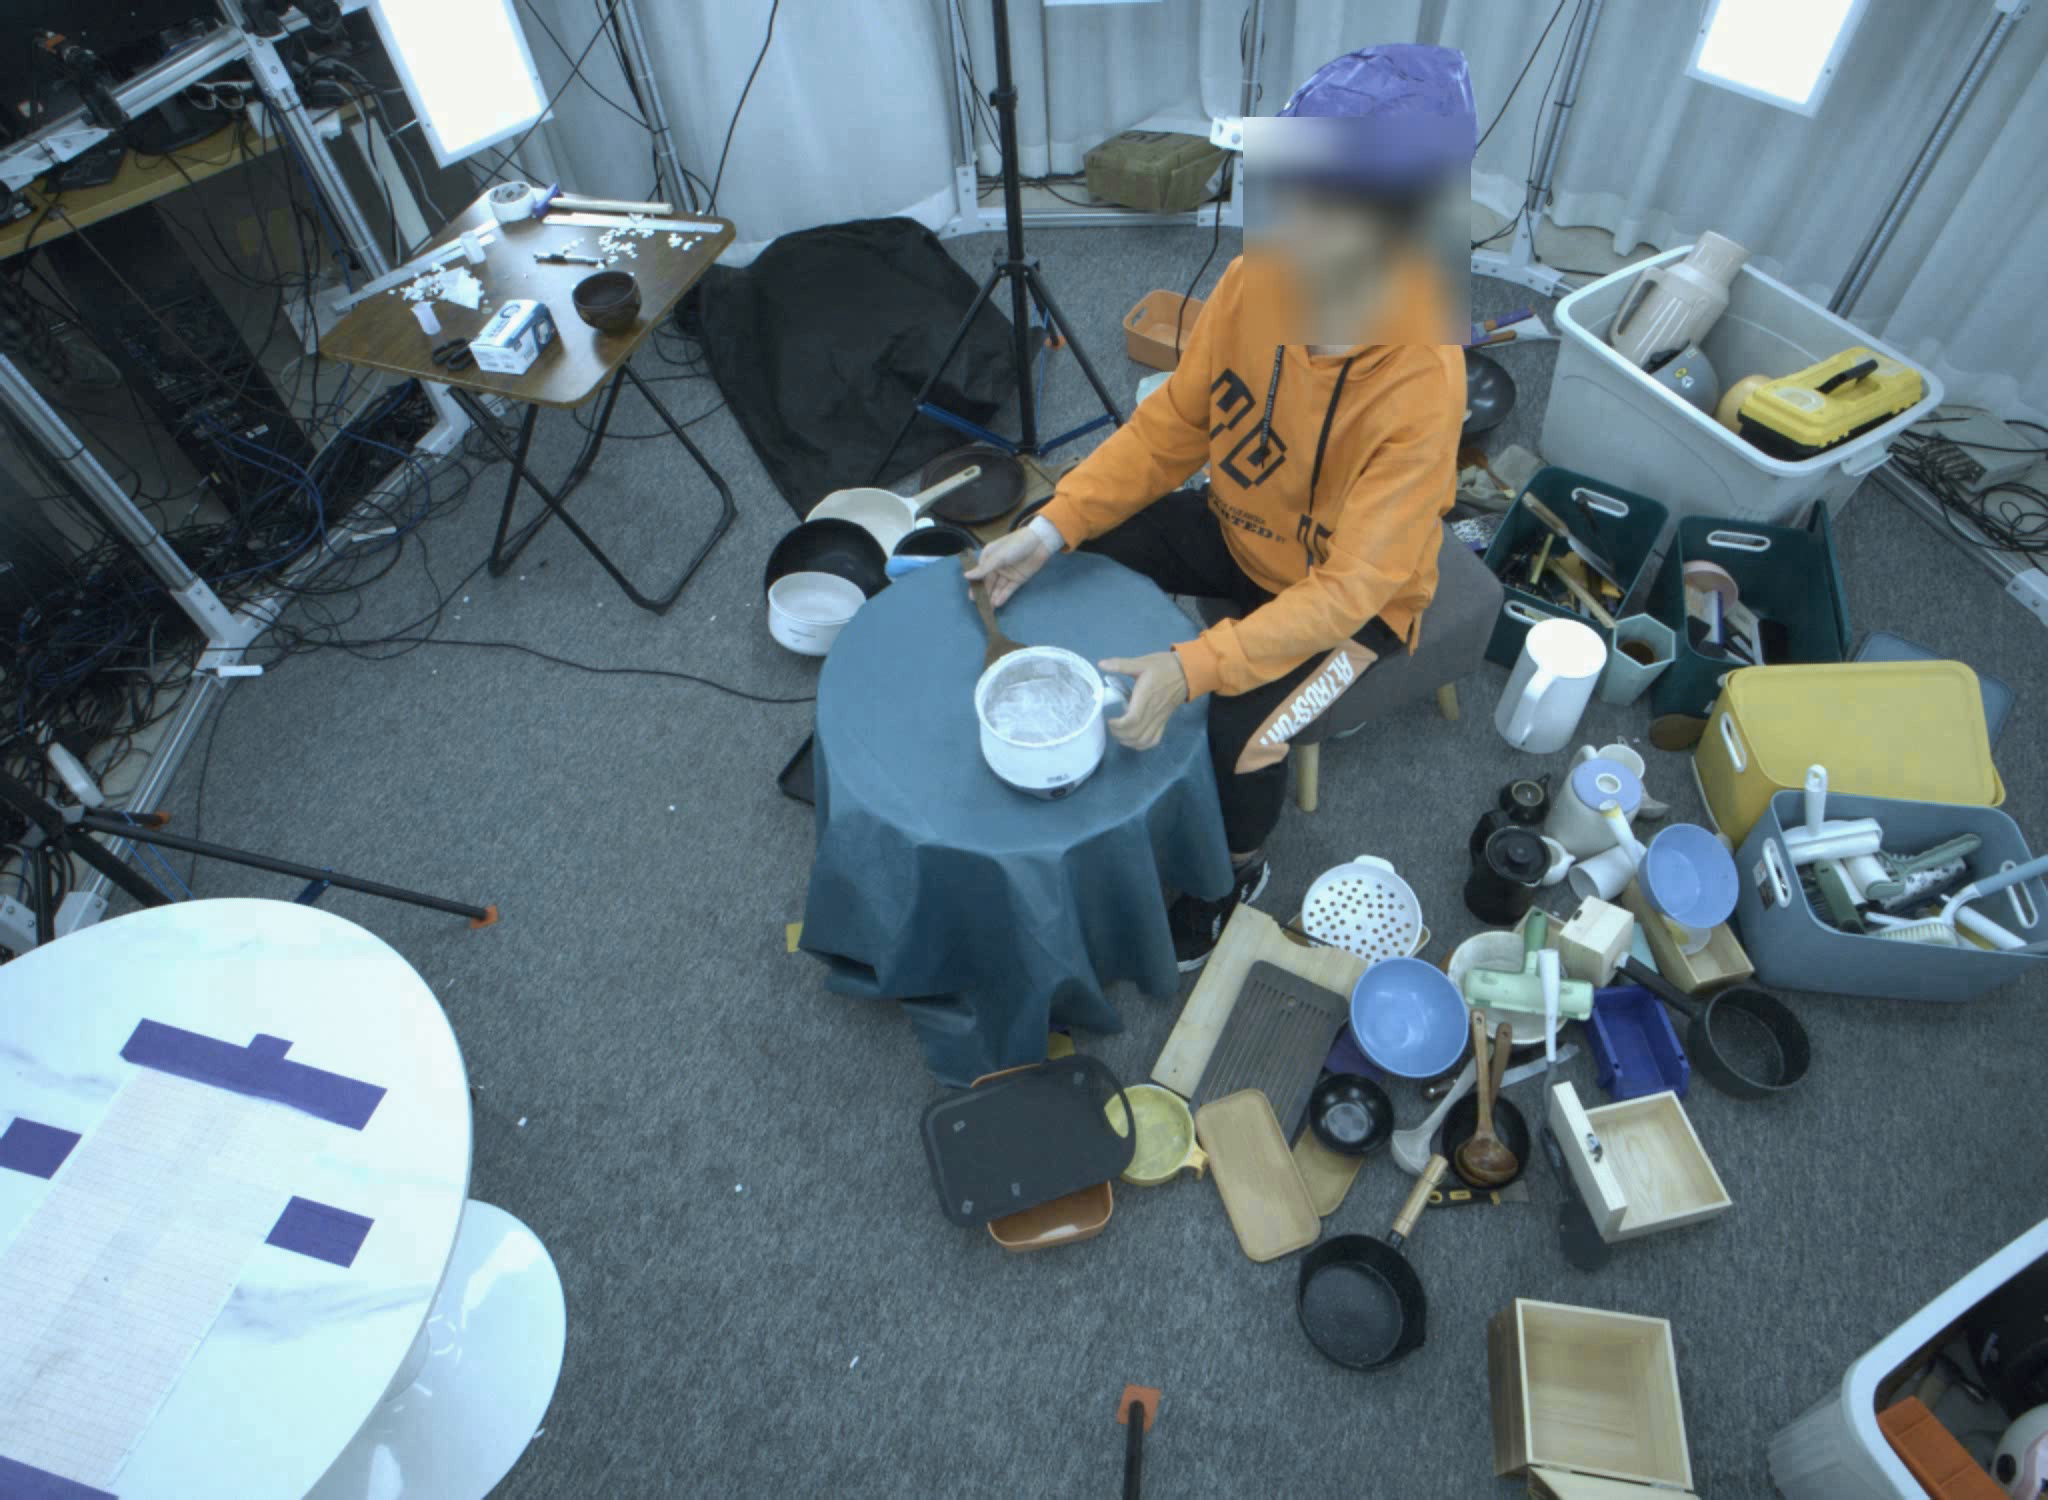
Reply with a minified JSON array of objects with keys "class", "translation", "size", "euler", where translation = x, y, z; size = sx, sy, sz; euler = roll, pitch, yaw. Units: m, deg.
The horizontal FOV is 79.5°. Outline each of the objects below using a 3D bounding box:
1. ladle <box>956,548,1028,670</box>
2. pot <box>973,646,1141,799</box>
[{"class":"ladle","translation":[-0.063,-0.231,1.901],"size":[0.076,0.072,0.270],"euler":[-15,62,-8]},{"class":"pot","translation":[0.051,-0.044,1.731],"size":[0.235,0.138,0.176],"euler":[-15,56,-7]}]
